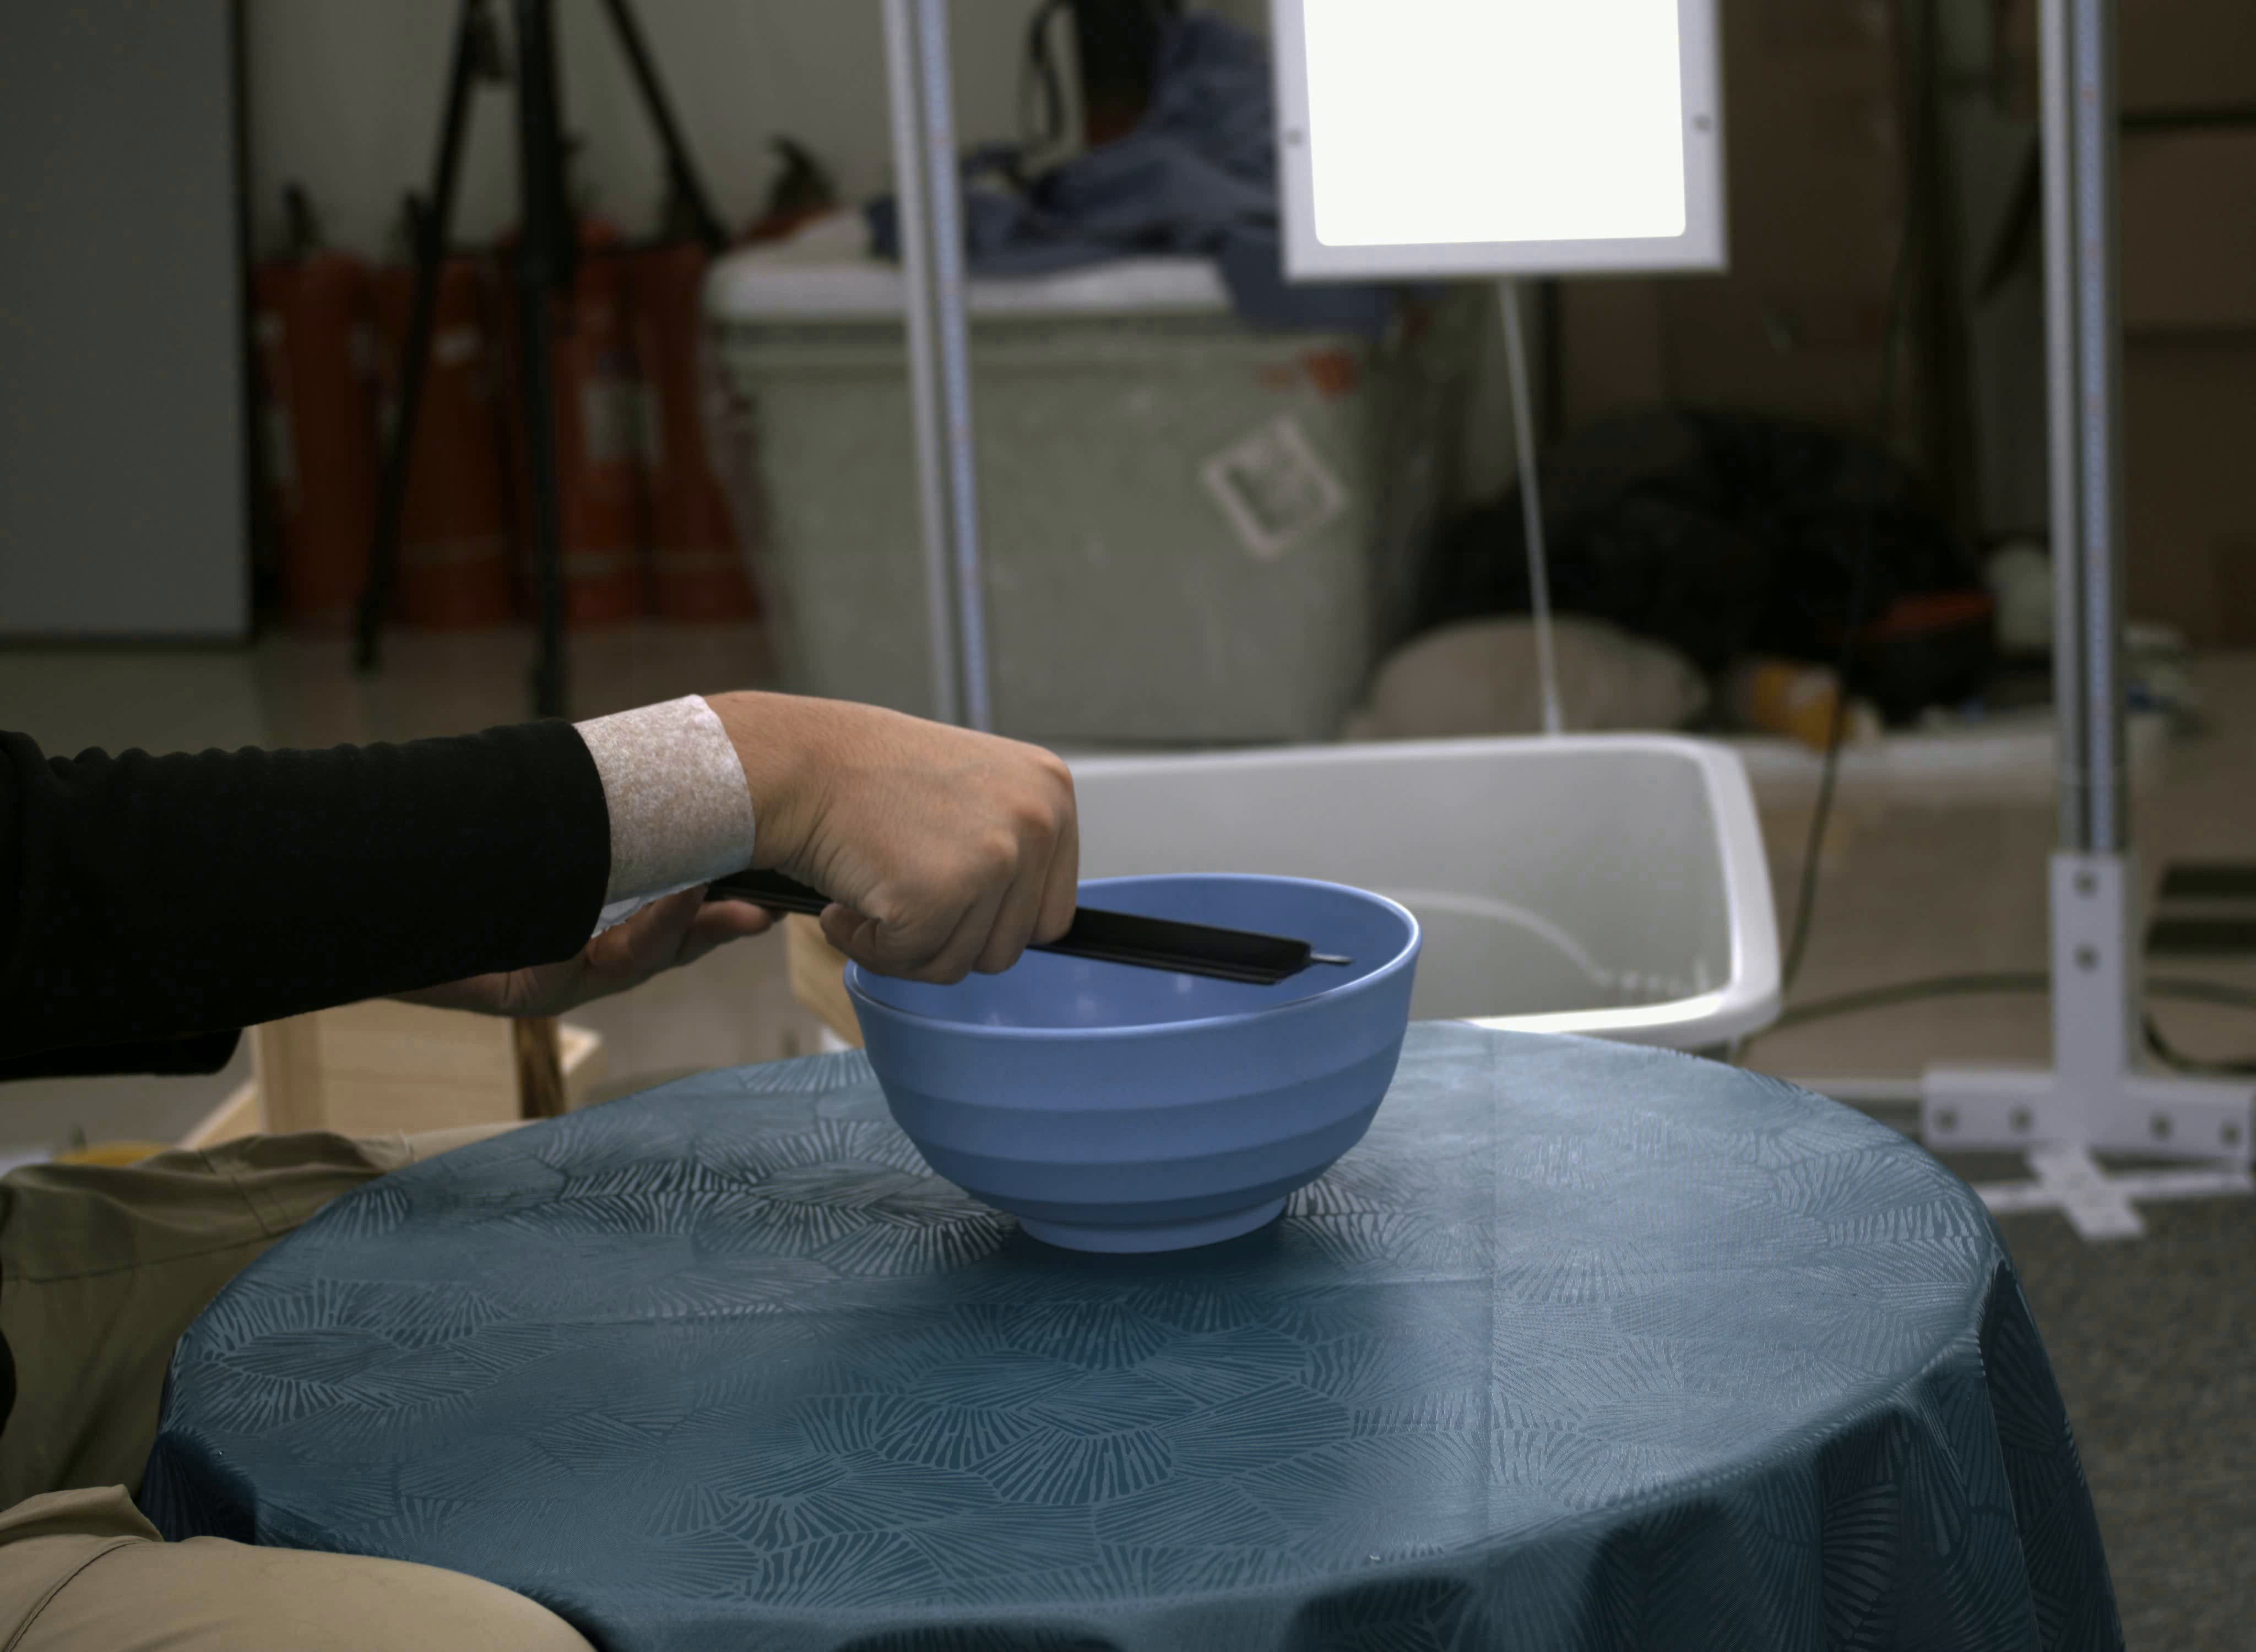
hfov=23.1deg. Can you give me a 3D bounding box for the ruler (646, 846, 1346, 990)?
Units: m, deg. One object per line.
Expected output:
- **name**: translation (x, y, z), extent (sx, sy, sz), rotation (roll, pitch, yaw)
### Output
- **ruler**: translation (-0.050, 0.027, 1.871), extent (0.038, 0.017, 0.319), rotation (-11, 13, -43)

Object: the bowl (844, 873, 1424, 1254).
- **bowl**: translation (0.005, 0.086, 1.863), extent (0.196, 0.096, 0.196), rotation (-4, 13, 0)
